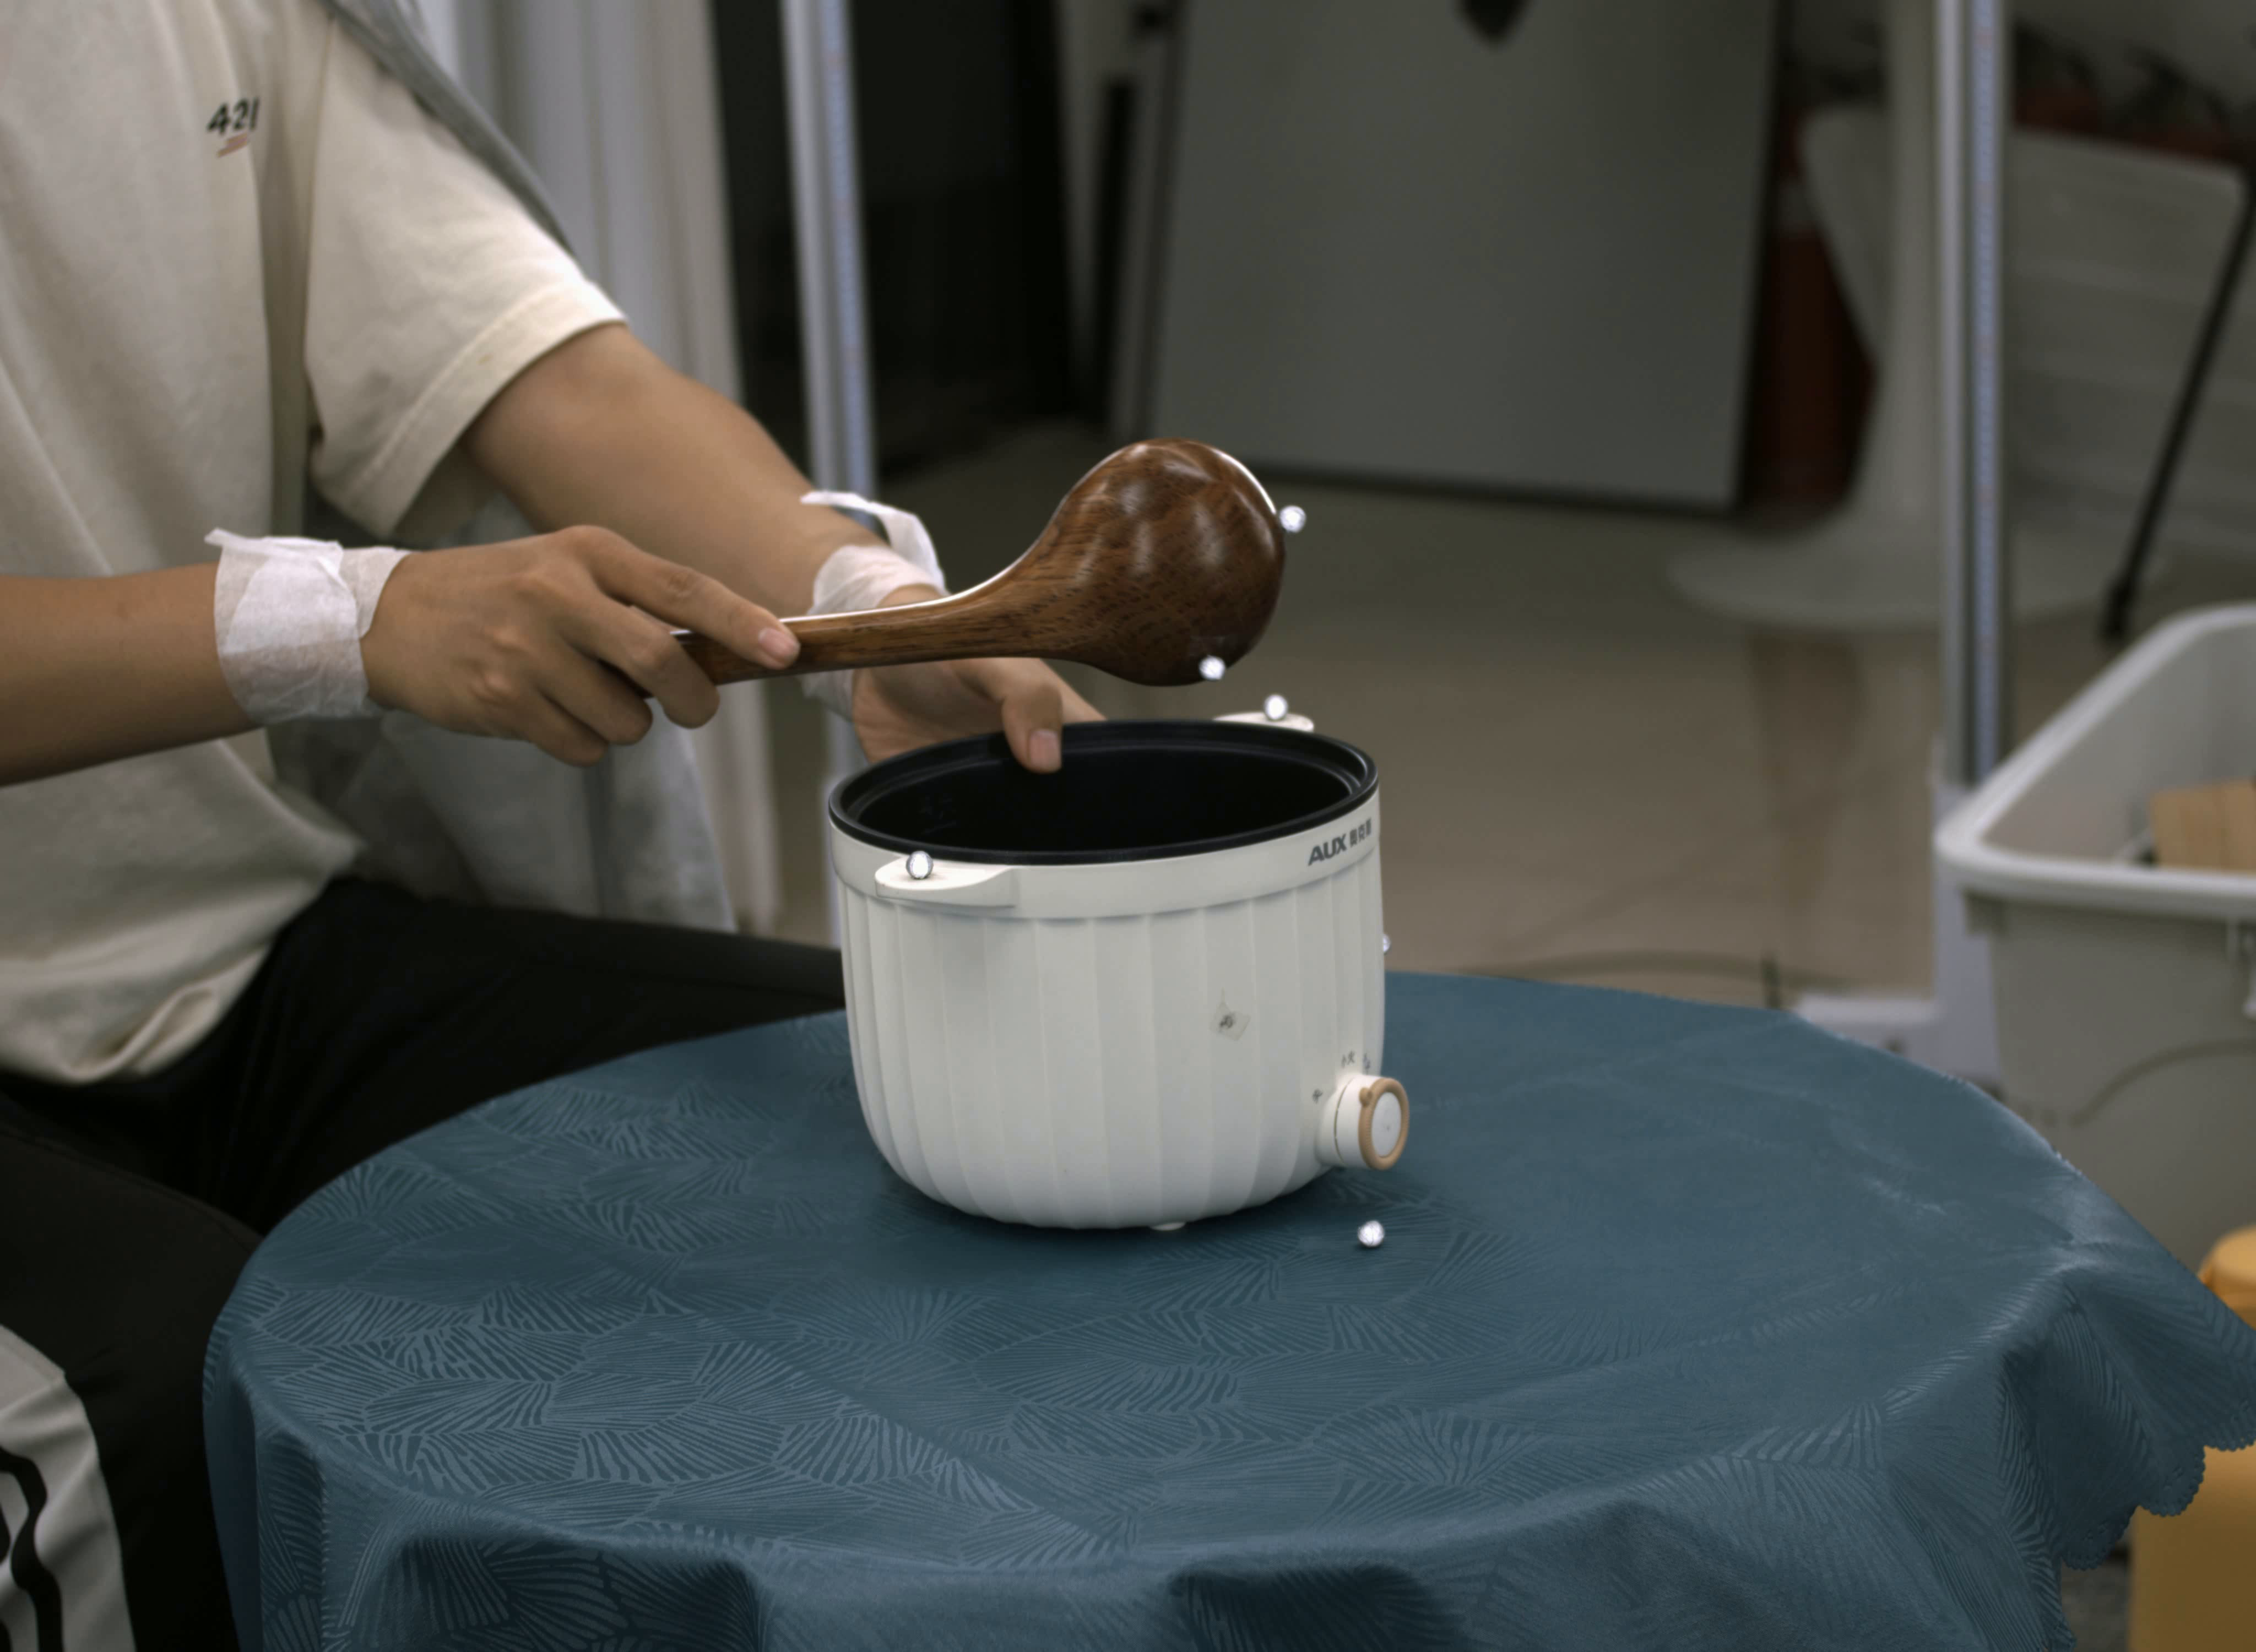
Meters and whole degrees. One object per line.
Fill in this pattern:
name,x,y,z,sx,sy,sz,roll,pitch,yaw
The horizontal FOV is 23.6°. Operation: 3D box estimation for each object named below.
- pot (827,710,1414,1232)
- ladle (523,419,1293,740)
pot,0.001,0.050,1.771,0.191,0.144,0.237,1,15,32
ladle,-0.073,-0.073,1.777,0.275,0.082,0.075,-9,14,32
